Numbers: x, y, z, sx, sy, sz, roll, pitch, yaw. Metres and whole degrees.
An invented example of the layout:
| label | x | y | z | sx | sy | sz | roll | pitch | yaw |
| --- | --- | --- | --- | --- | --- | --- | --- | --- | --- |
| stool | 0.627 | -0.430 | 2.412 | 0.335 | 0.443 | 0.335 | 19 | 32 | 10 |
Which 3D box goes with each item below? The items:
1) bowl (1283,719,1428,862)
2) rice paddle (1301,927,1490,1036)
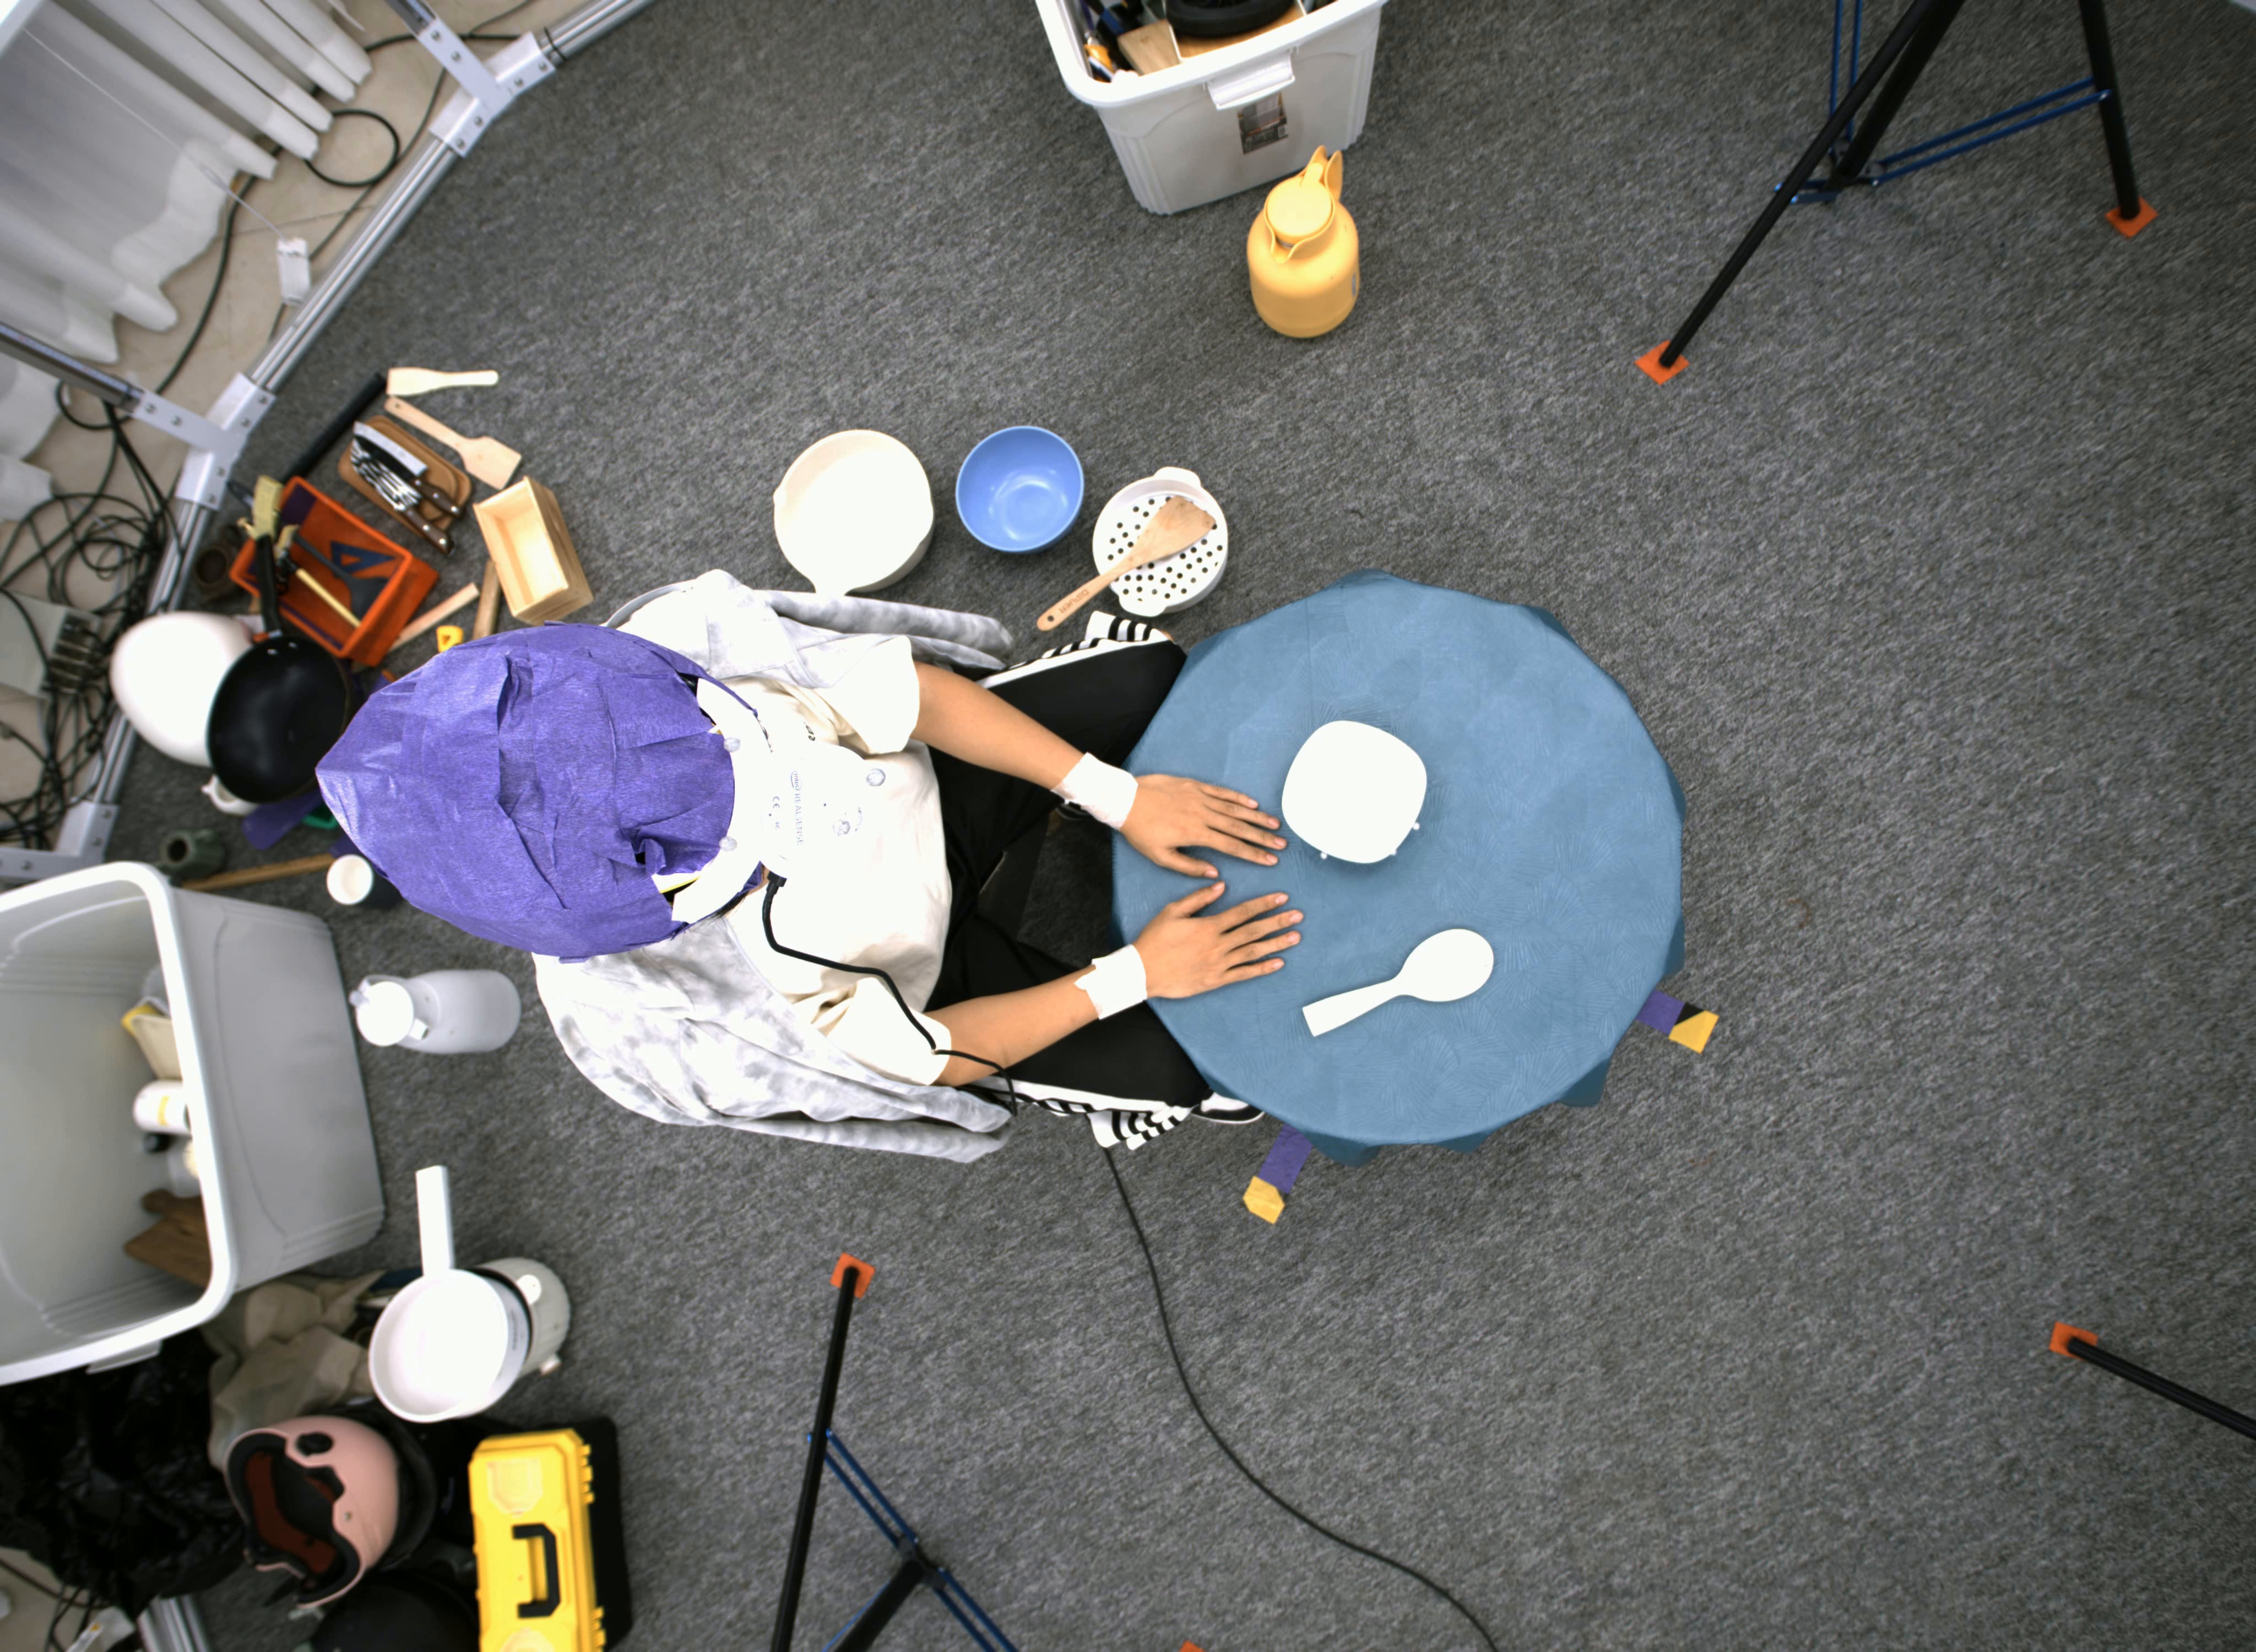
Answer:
| label | x | y | z | sx | sy | sz | roll | pitch | yaw |
| --- | --- | --- | --- | --- | --- | --- | --- | --- | --- |
| bowl | 0.236 | -0.037 | 1.439 | 0.152 | 0.058 | 0.151 | 0 | 90 | 9 |
| rice paddle | 0.279 | 0.163 | 1.436 | 0.206 | 0.029 | 0.068 | -24 | 84 | 9 |
